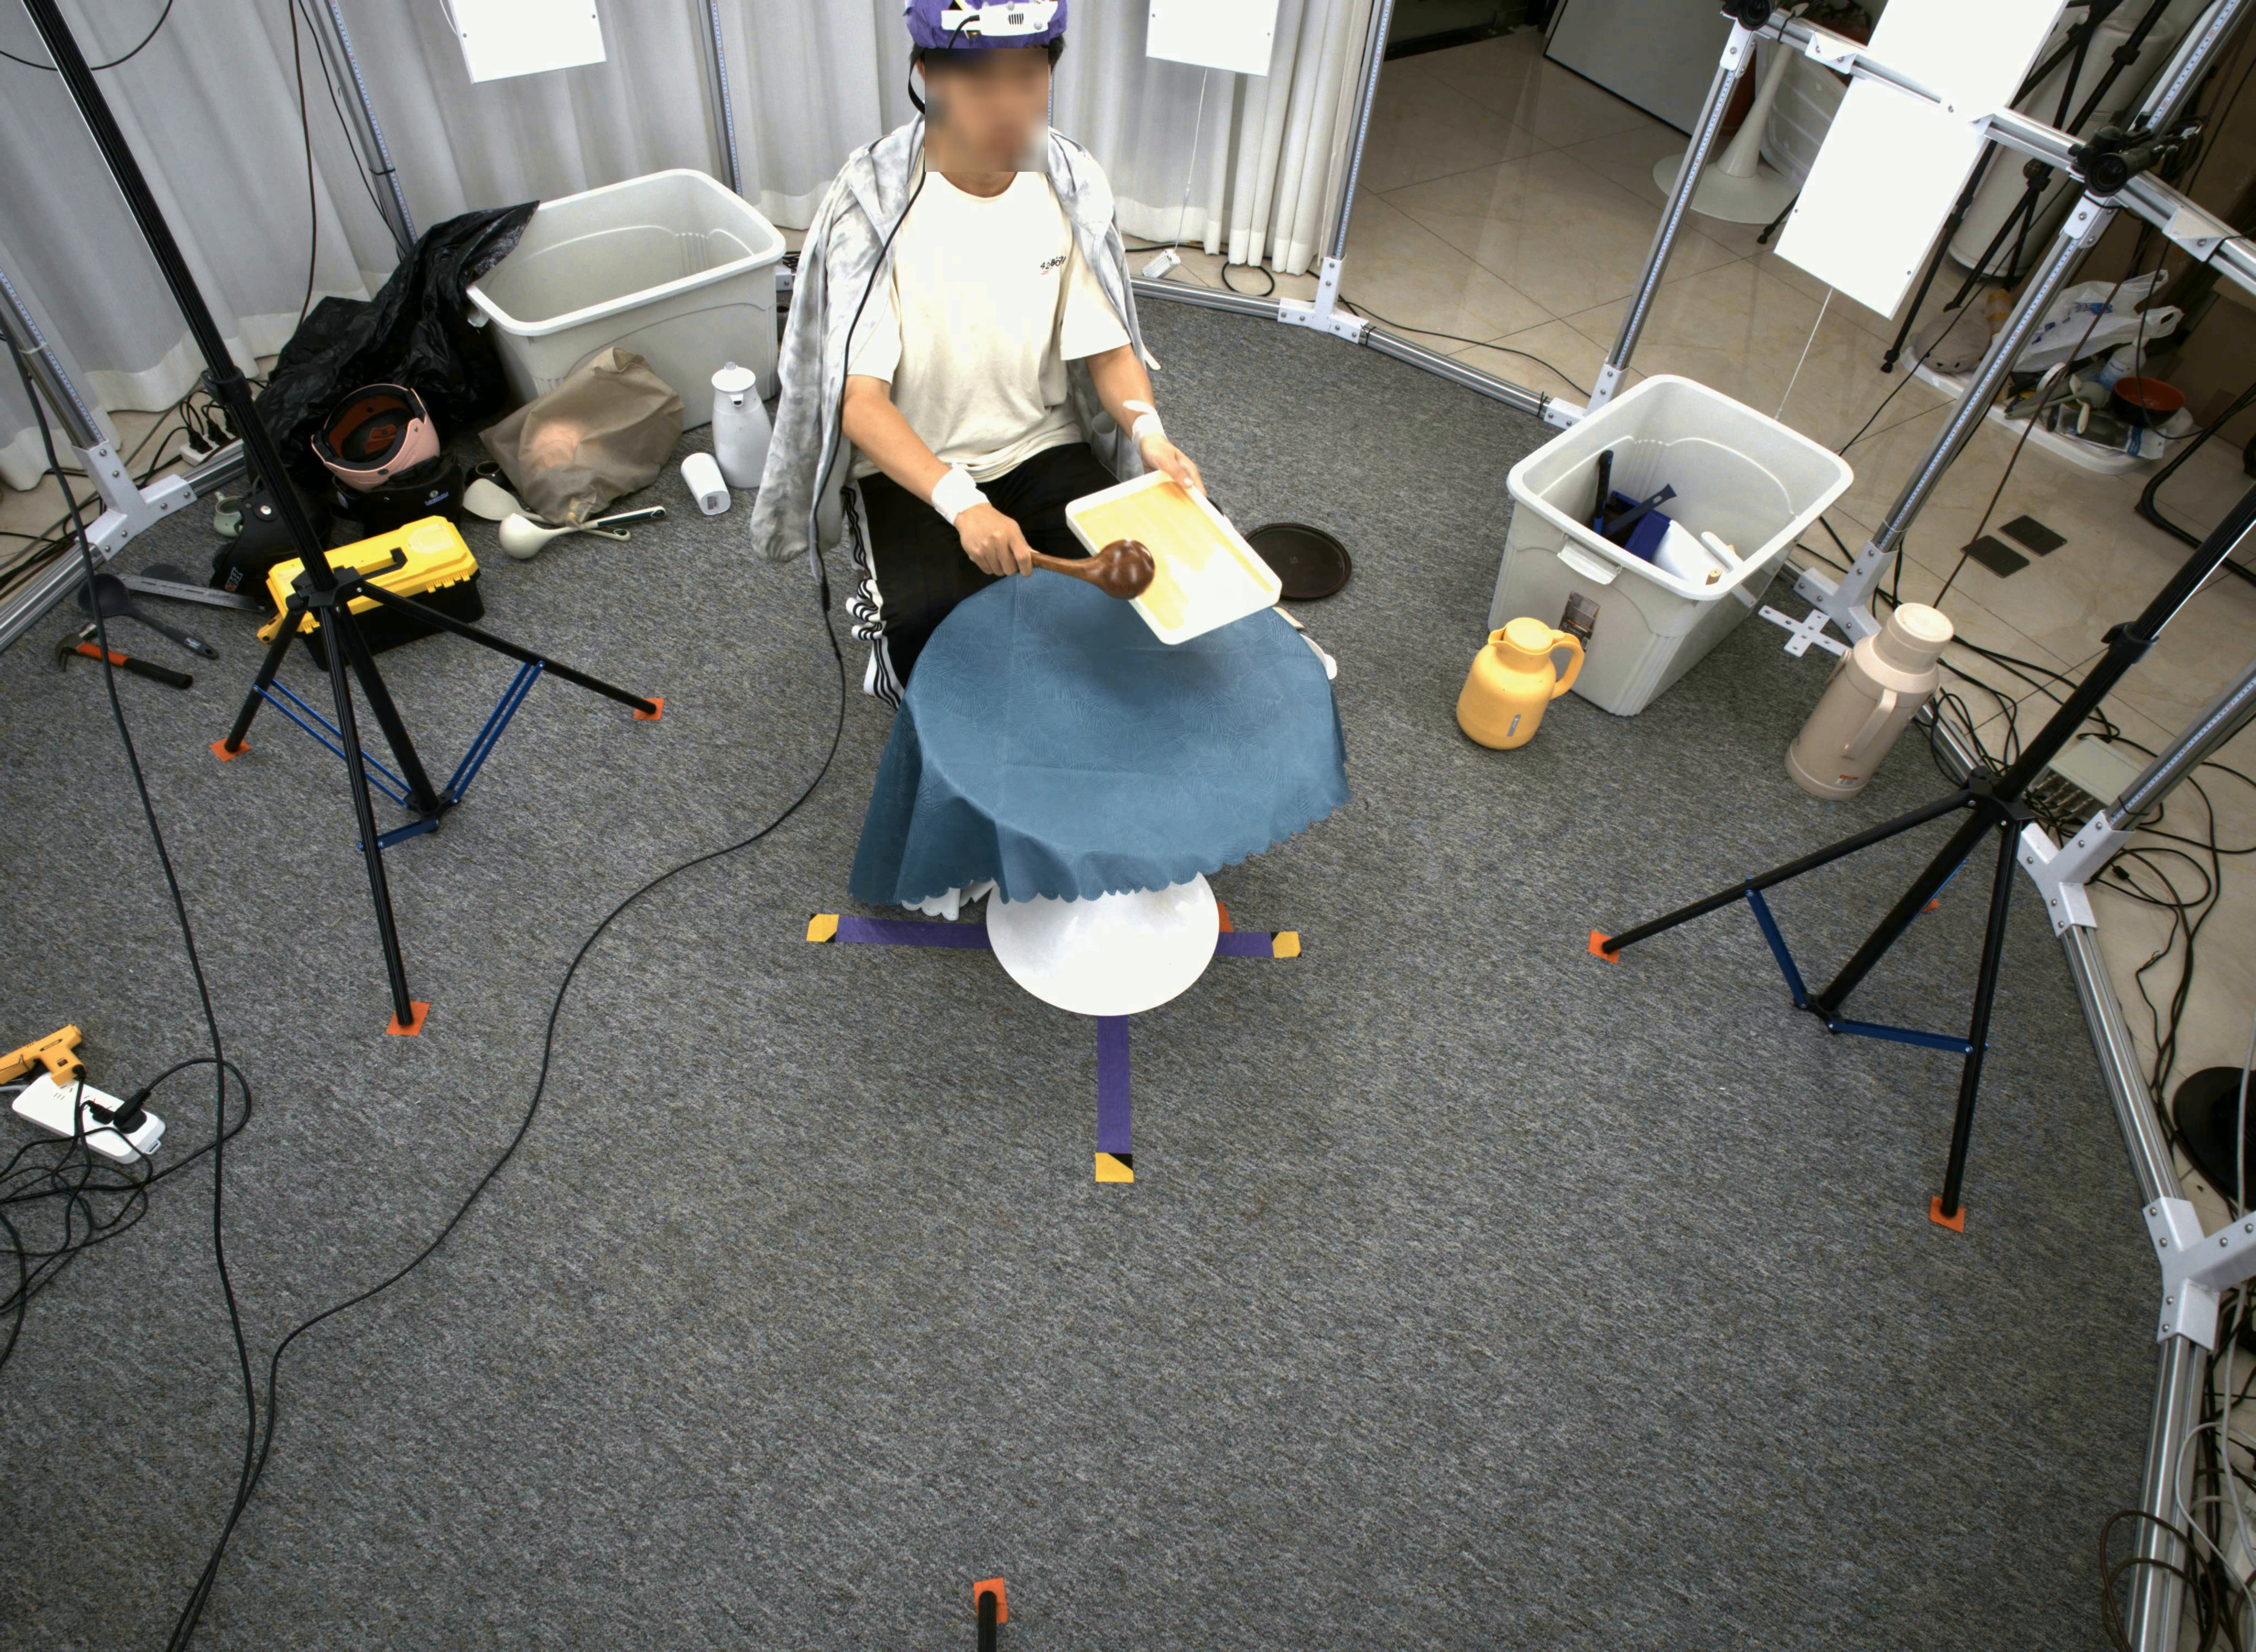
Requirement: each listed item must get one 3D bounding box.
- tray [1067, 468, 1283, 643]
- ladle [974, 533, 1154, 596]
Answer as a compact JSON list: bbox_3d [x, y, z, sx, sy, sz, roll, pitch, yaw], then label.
[{"bbox_3d":[0.062,-0.384,1.803,0.192,0.027,0.307,-24,55,-17],"label":"tray"},{"bbox_3d":[-0.087,-0.364,1.744,0.277,0.080,0.077,17,26,38],"label":"ladle"}]
